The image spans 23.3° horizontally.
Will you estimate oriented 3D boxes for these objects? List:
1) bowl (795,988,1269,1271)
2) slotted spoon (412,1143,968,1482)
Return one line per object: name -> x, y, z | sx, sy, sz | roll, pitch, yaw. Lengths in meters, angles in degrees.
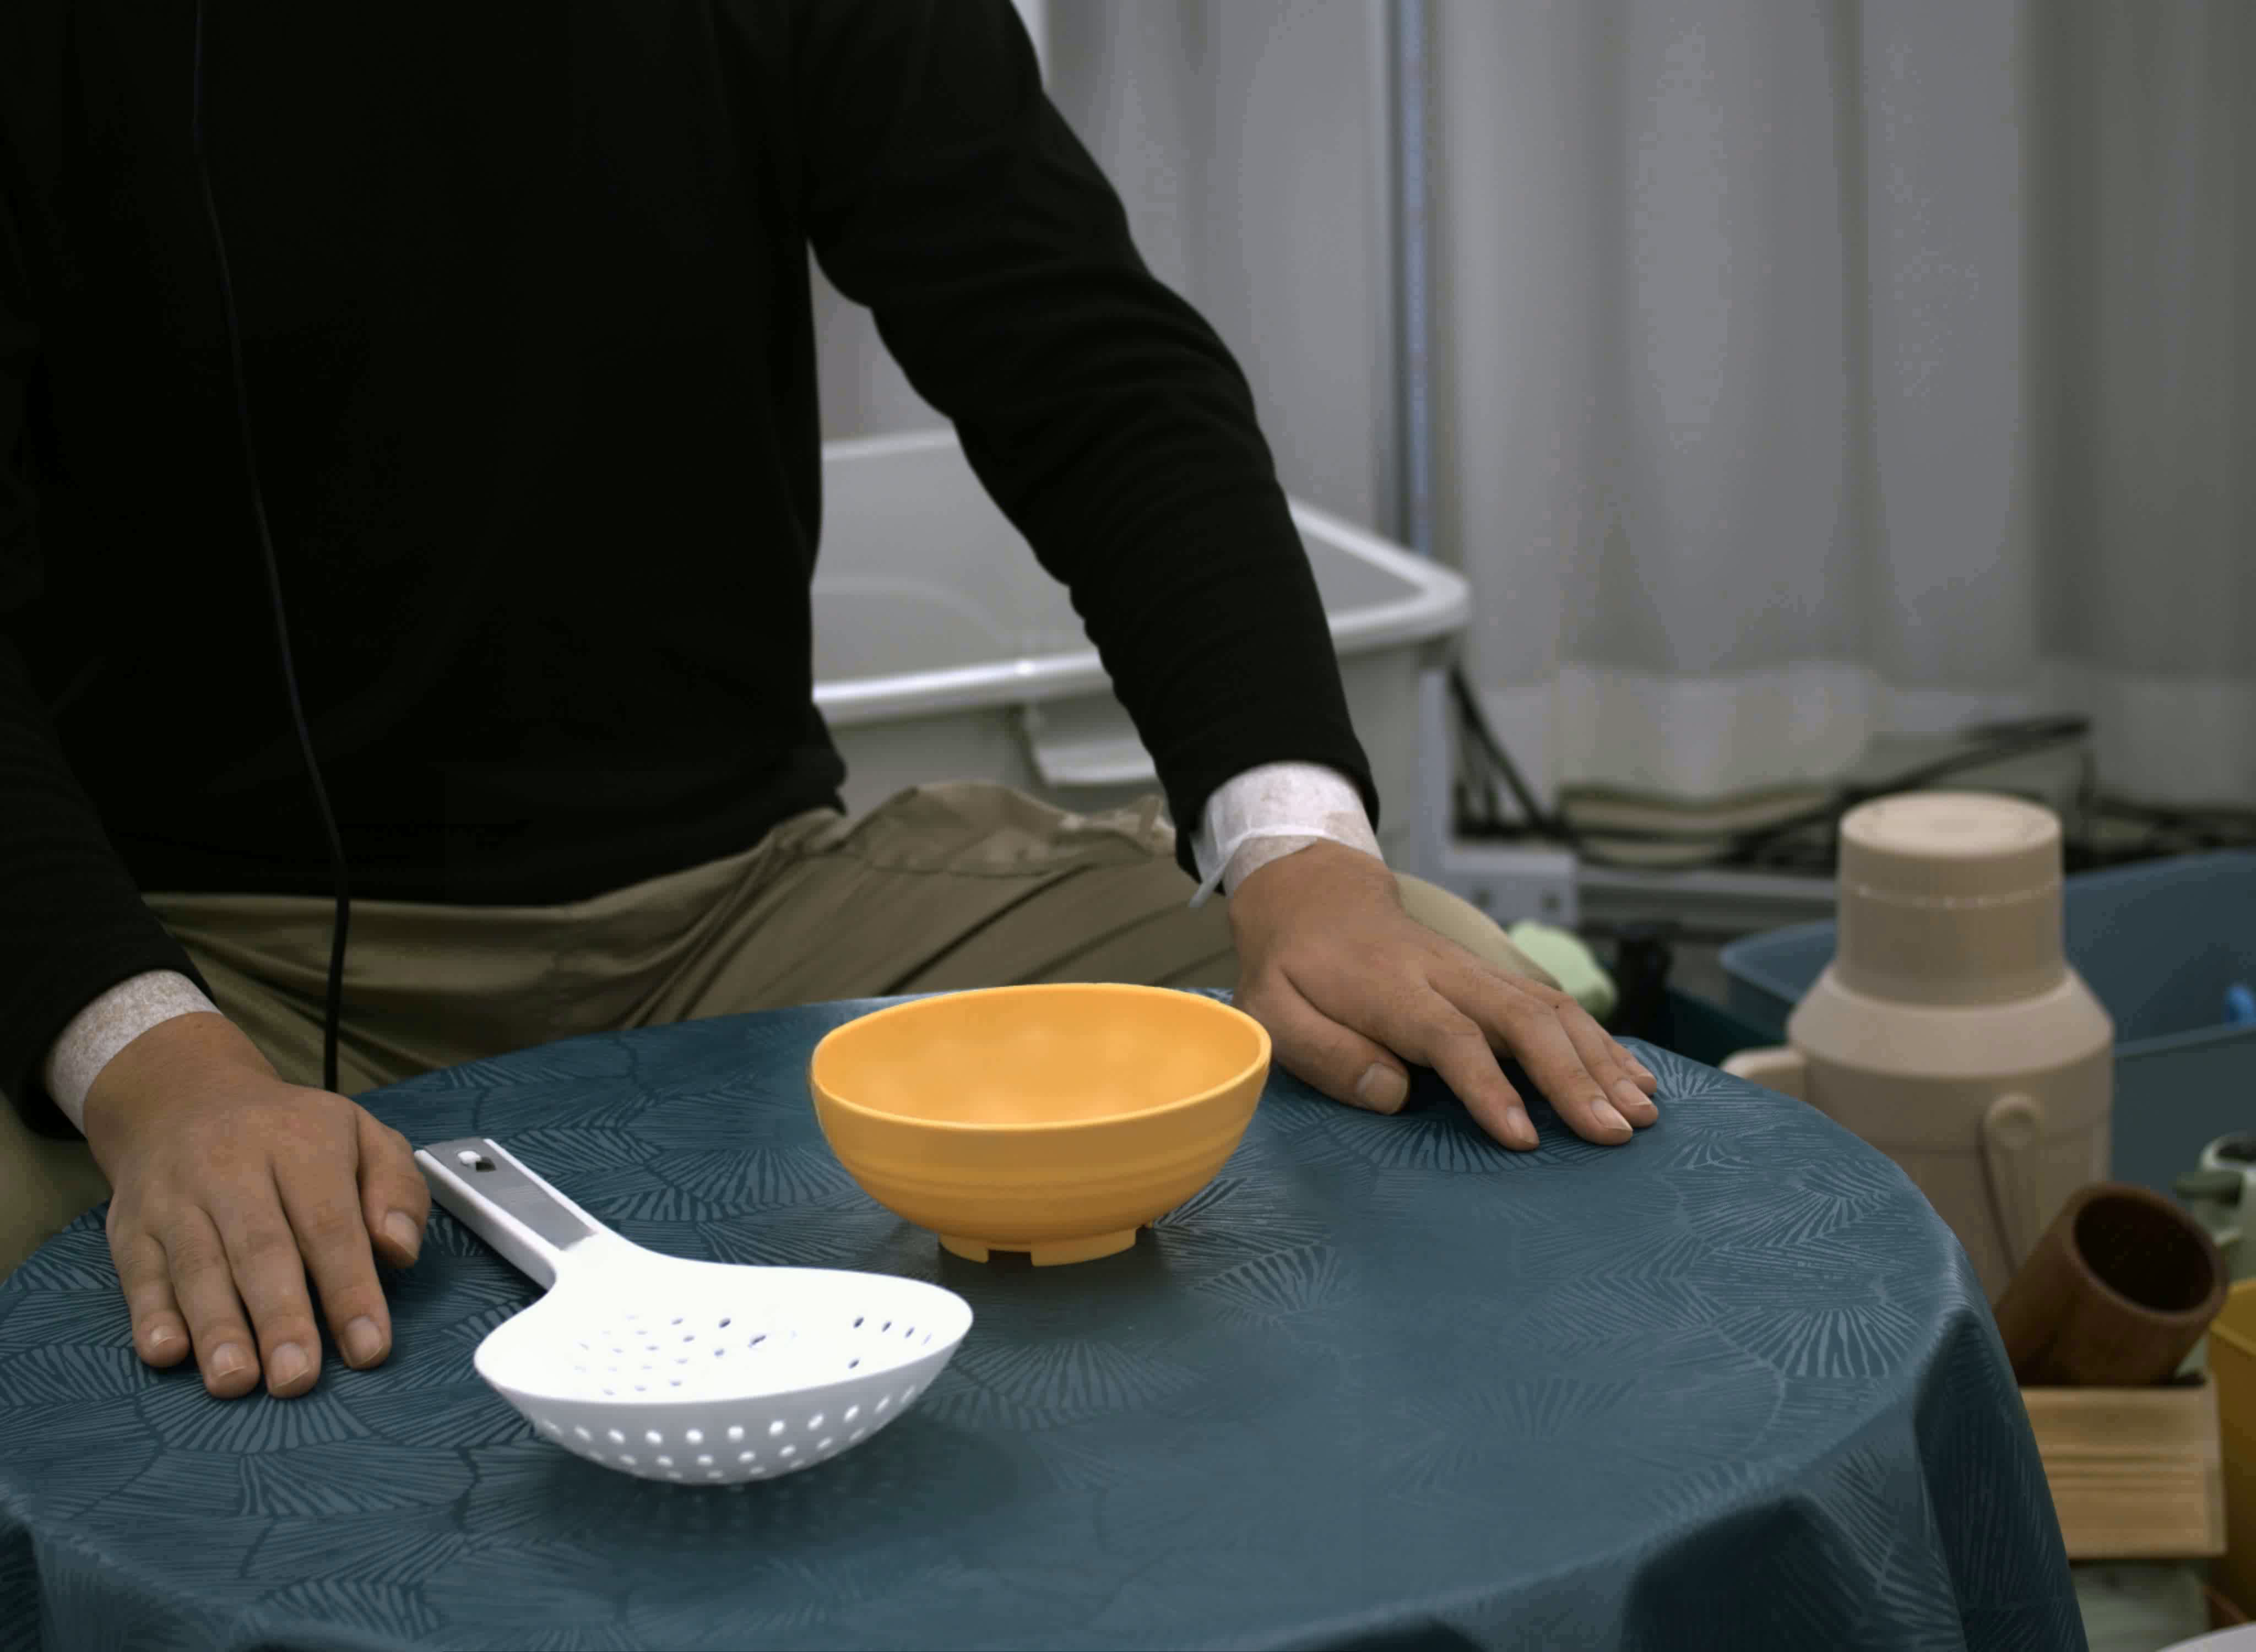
bowl -> -0.029, 0.098, 1.675 | 0.145, 0.060, 0.146 | -1, 15, 0
slotted spoon -> -0.152, 0.132, 1.591 | 0.135, 0.045, 0.352 | -8, 15, -21
